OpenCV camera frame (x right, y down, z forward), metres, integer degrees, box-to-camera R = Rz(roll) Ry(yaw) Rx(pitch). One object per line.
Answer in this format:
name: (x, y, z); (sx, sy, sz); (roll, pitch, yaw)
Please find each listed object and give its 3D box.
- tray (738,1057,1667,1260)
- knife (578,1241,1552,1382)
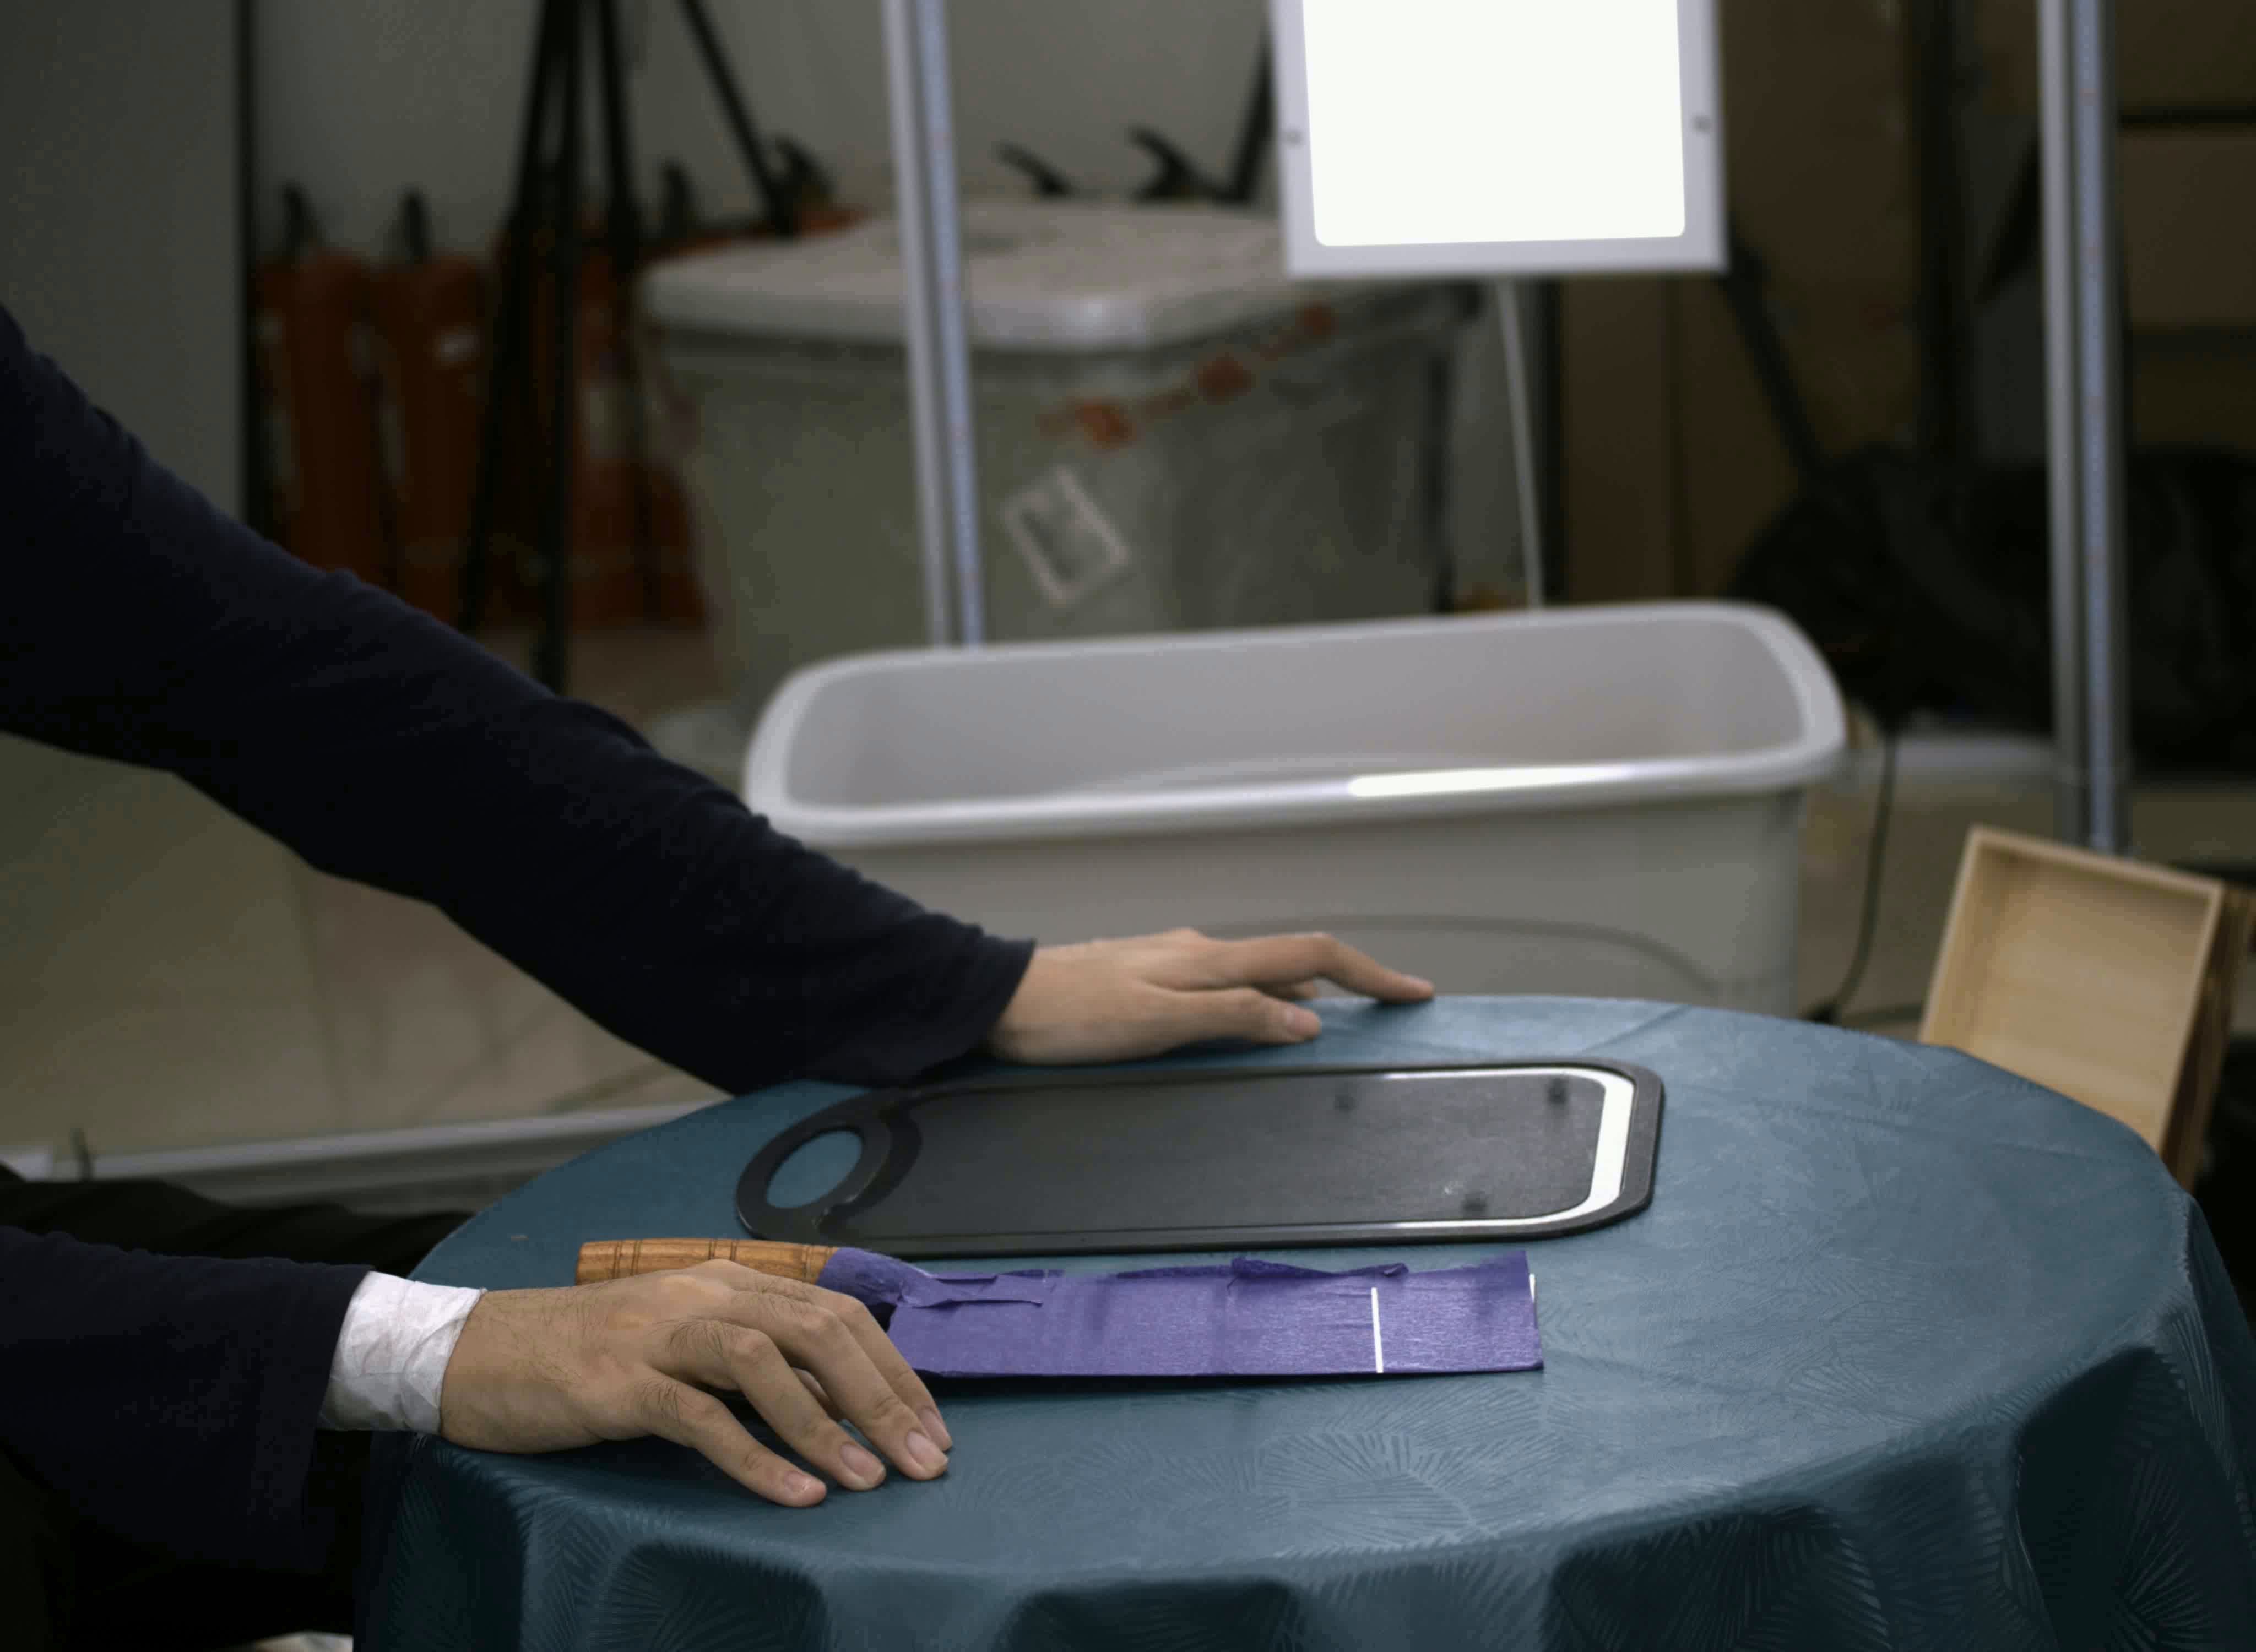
tray: (0.025, 0.114, 1.932); (0.327, 0.010, 0.209); (-3, 14, 11)
knife: (-0.023, 0.153, 1.747); (0.316, 0.032, 0.103); (-3, 13, 6)
